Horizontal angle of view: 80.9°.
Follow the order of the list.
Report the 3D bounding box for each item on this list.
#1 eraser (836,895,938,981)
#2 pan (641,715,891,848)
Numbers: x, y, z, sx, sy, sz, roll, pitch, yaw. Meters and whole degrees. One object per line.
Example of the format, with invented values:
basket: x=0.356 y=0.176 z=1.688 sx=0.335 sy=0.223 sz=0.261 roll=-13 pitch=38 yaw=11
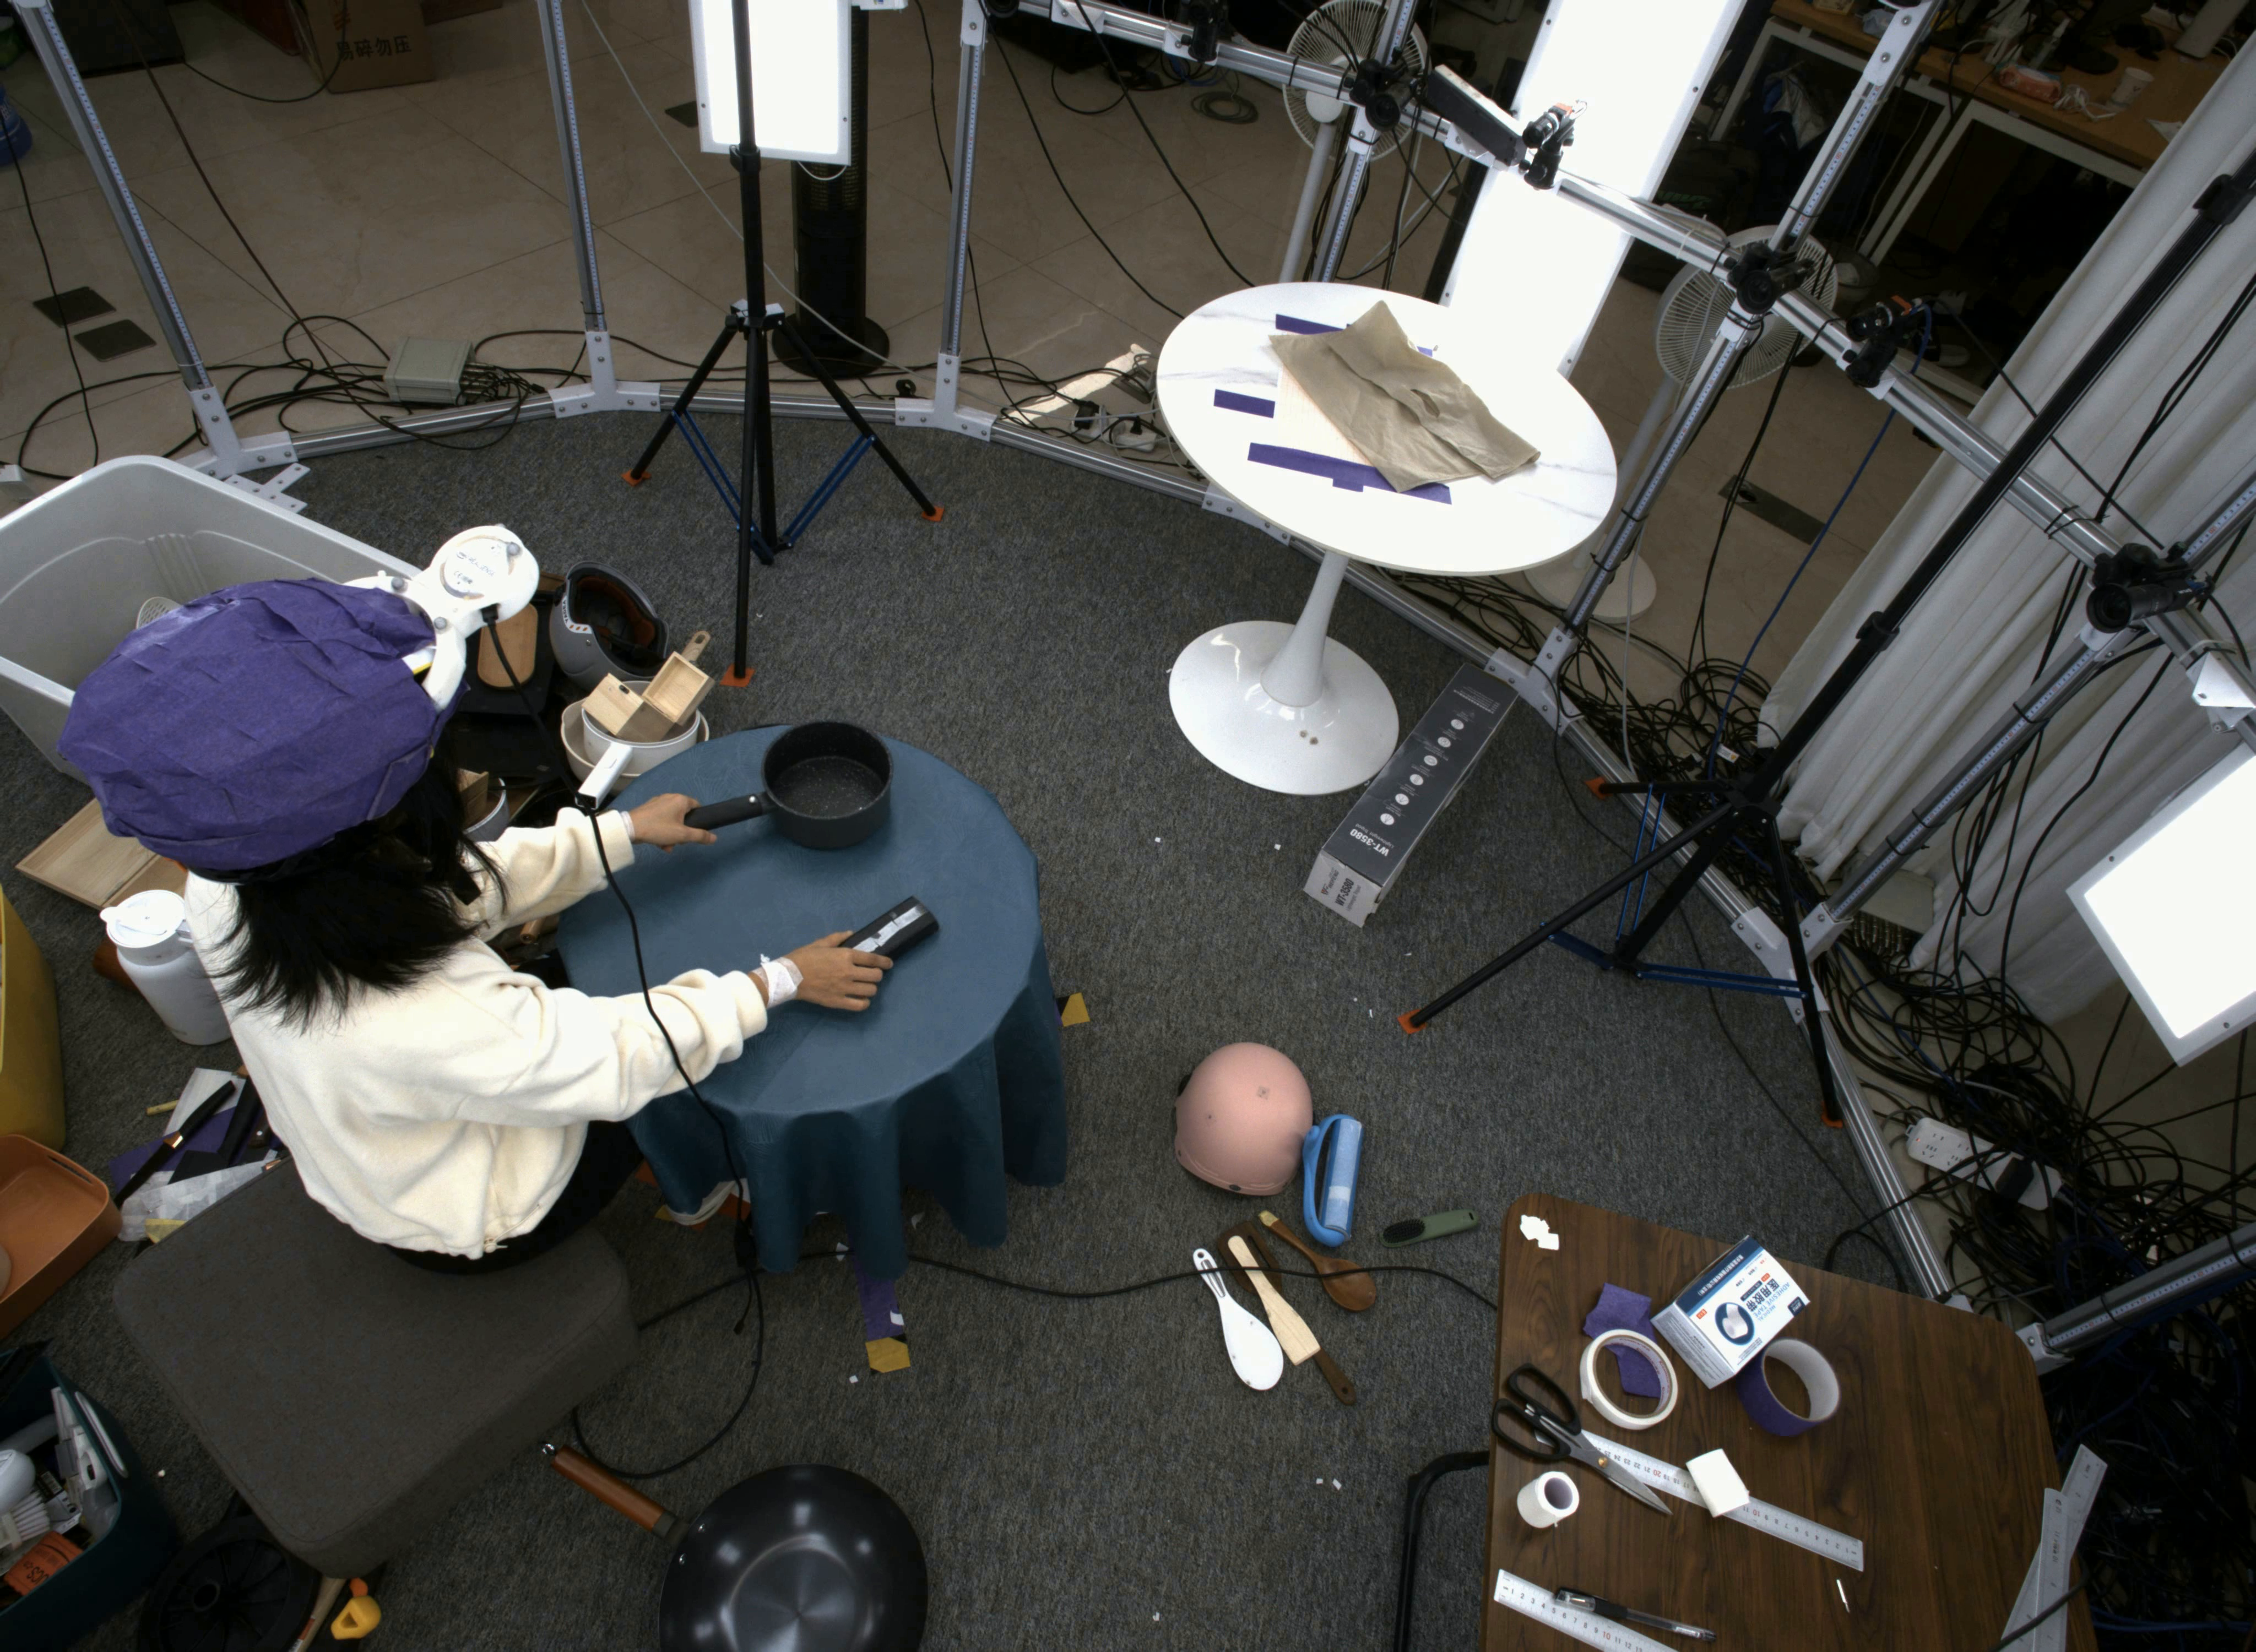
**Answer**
eraser: x=-0.301 y=0.137 z=1.631 sx=0.052 sy=0.031 sz=0.126 roll=40 pitch=56 yaw=21
pan: x=-0.465 y=-0.032 z=1.678 sx=0.330 sy=0.088 sz=0.167 roll=-21 pitch=60 yaw=-28
